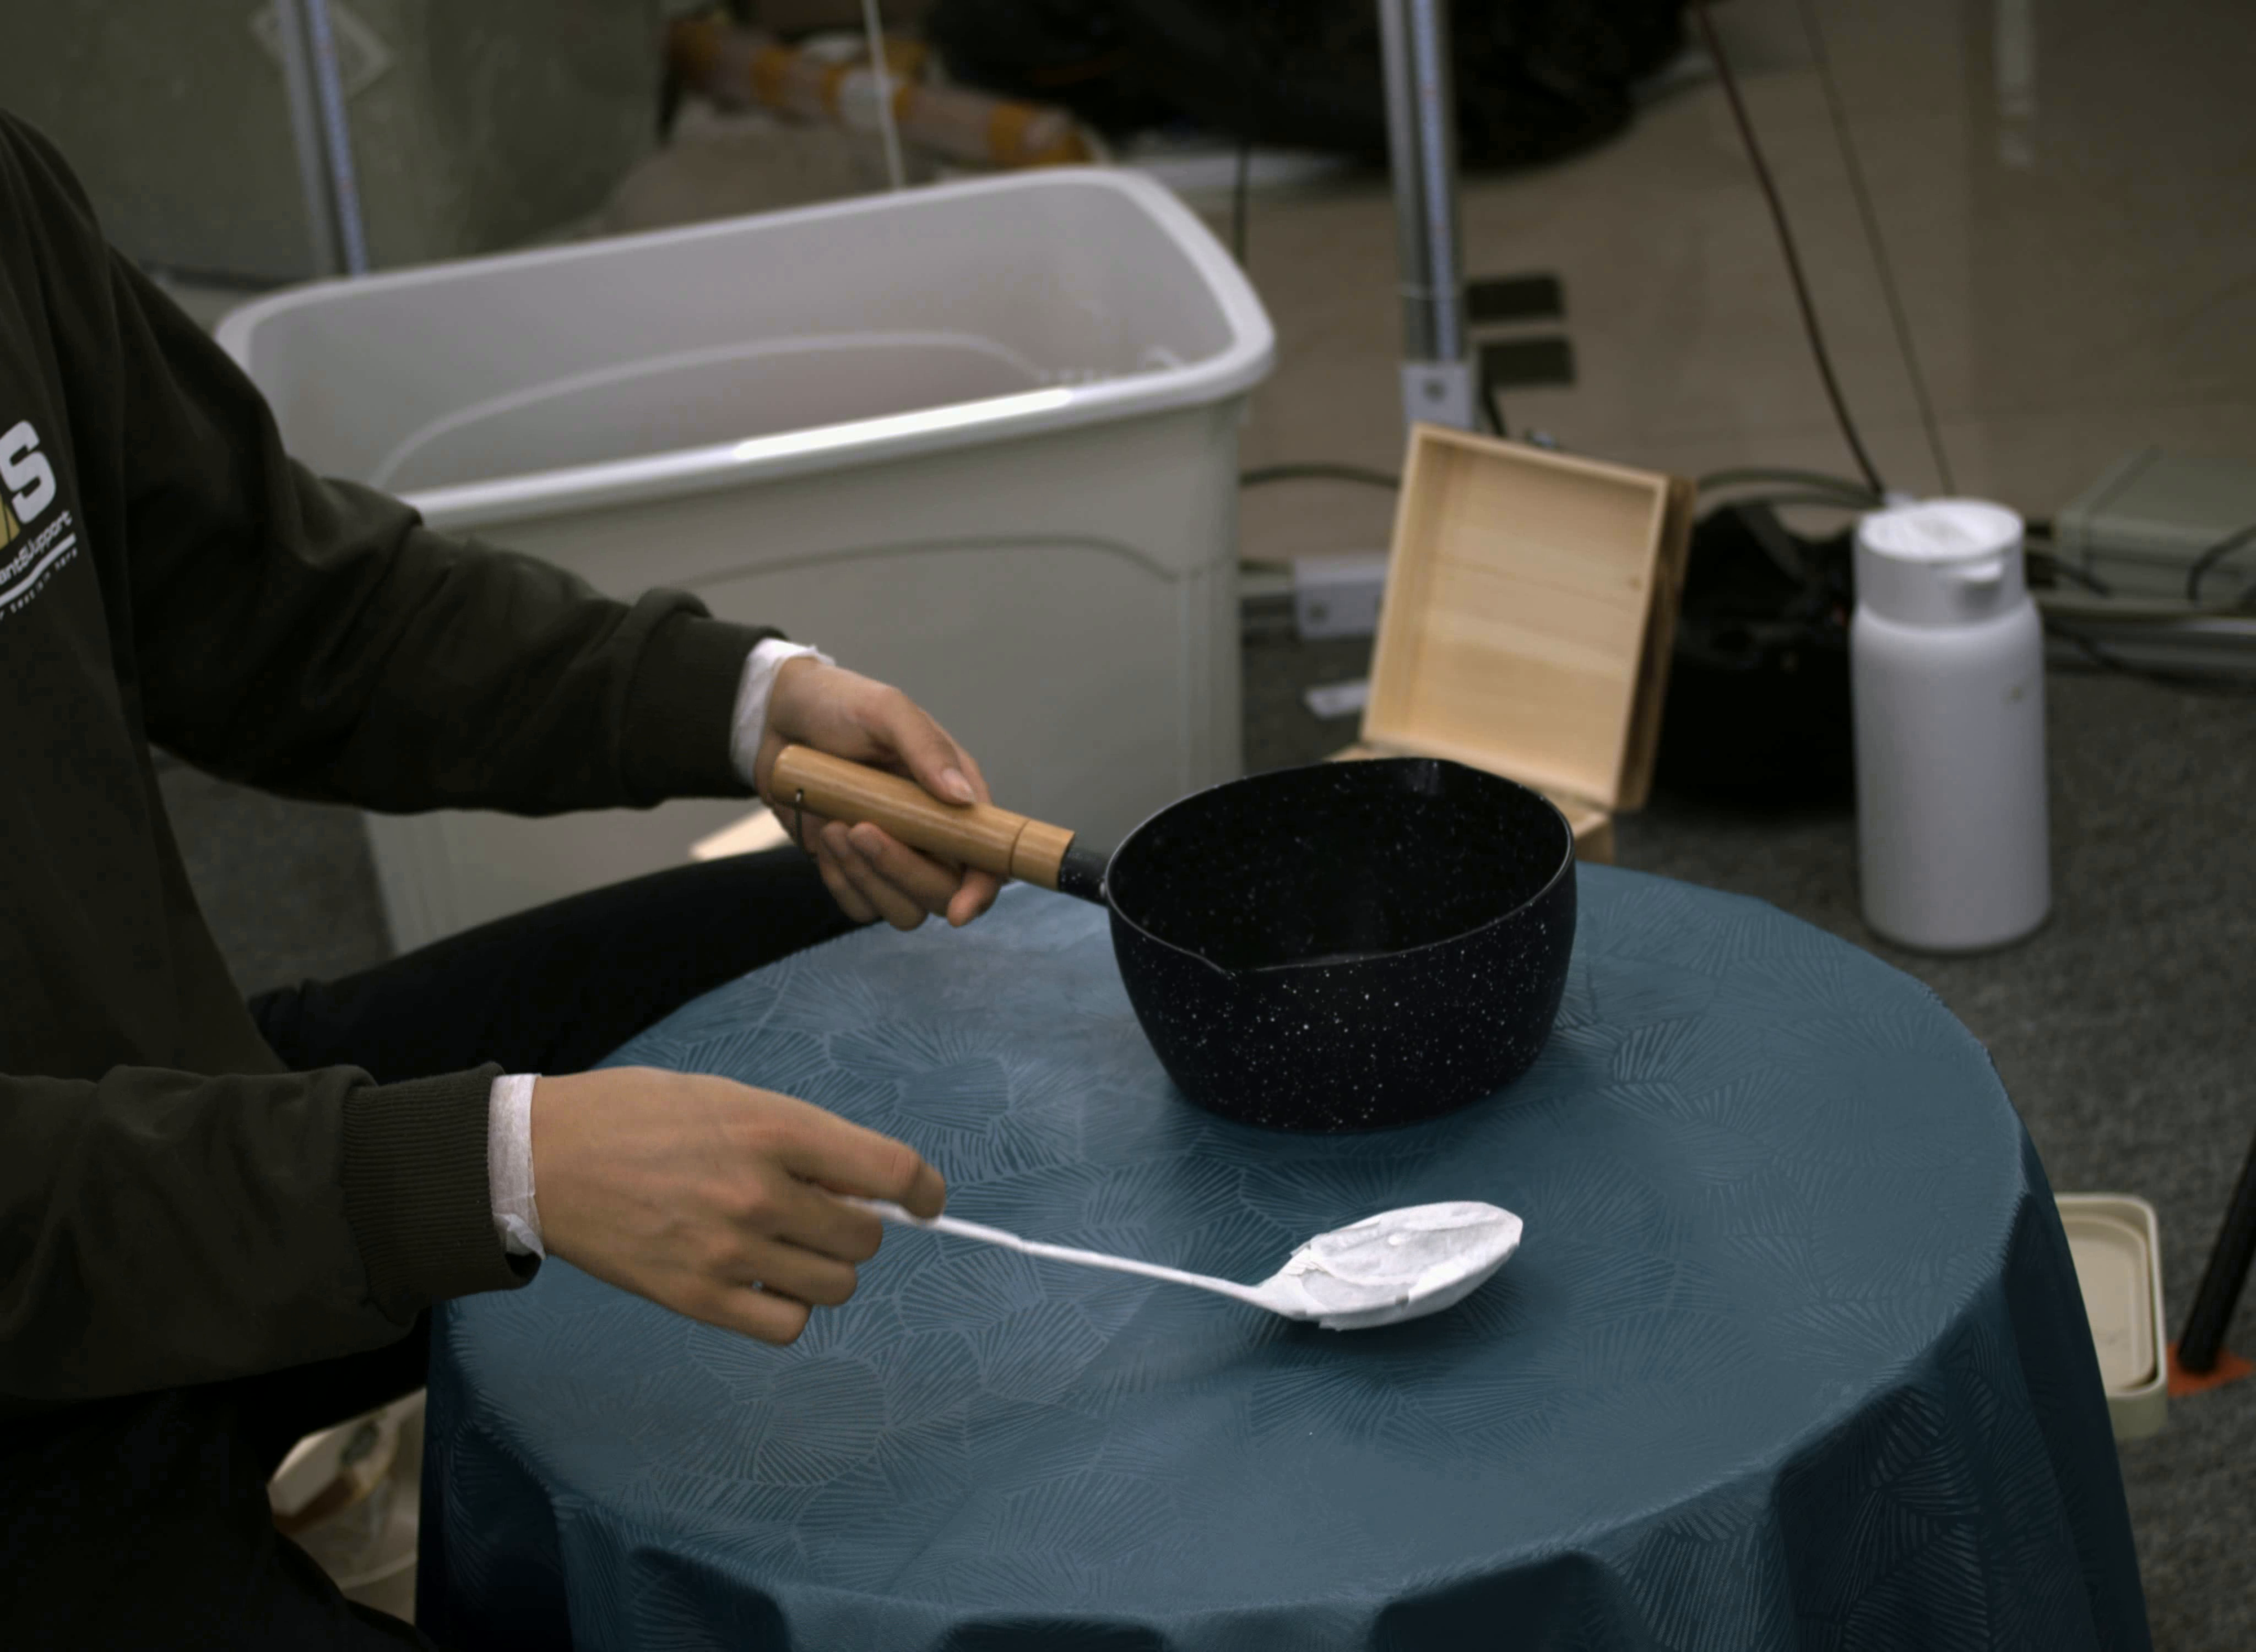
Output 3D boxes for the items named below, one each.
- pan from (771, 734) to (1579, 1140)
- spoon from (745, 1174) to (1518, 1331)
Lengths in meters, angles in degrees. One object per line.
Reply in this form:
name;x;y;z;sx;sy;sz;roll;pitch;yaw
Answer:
pan;0.013;0.033;2.248;0.341;0.110;0.205;7;29;24
spoon;0.002;0.132;2.017;0.278;0.060;0.100;14;7;-16
